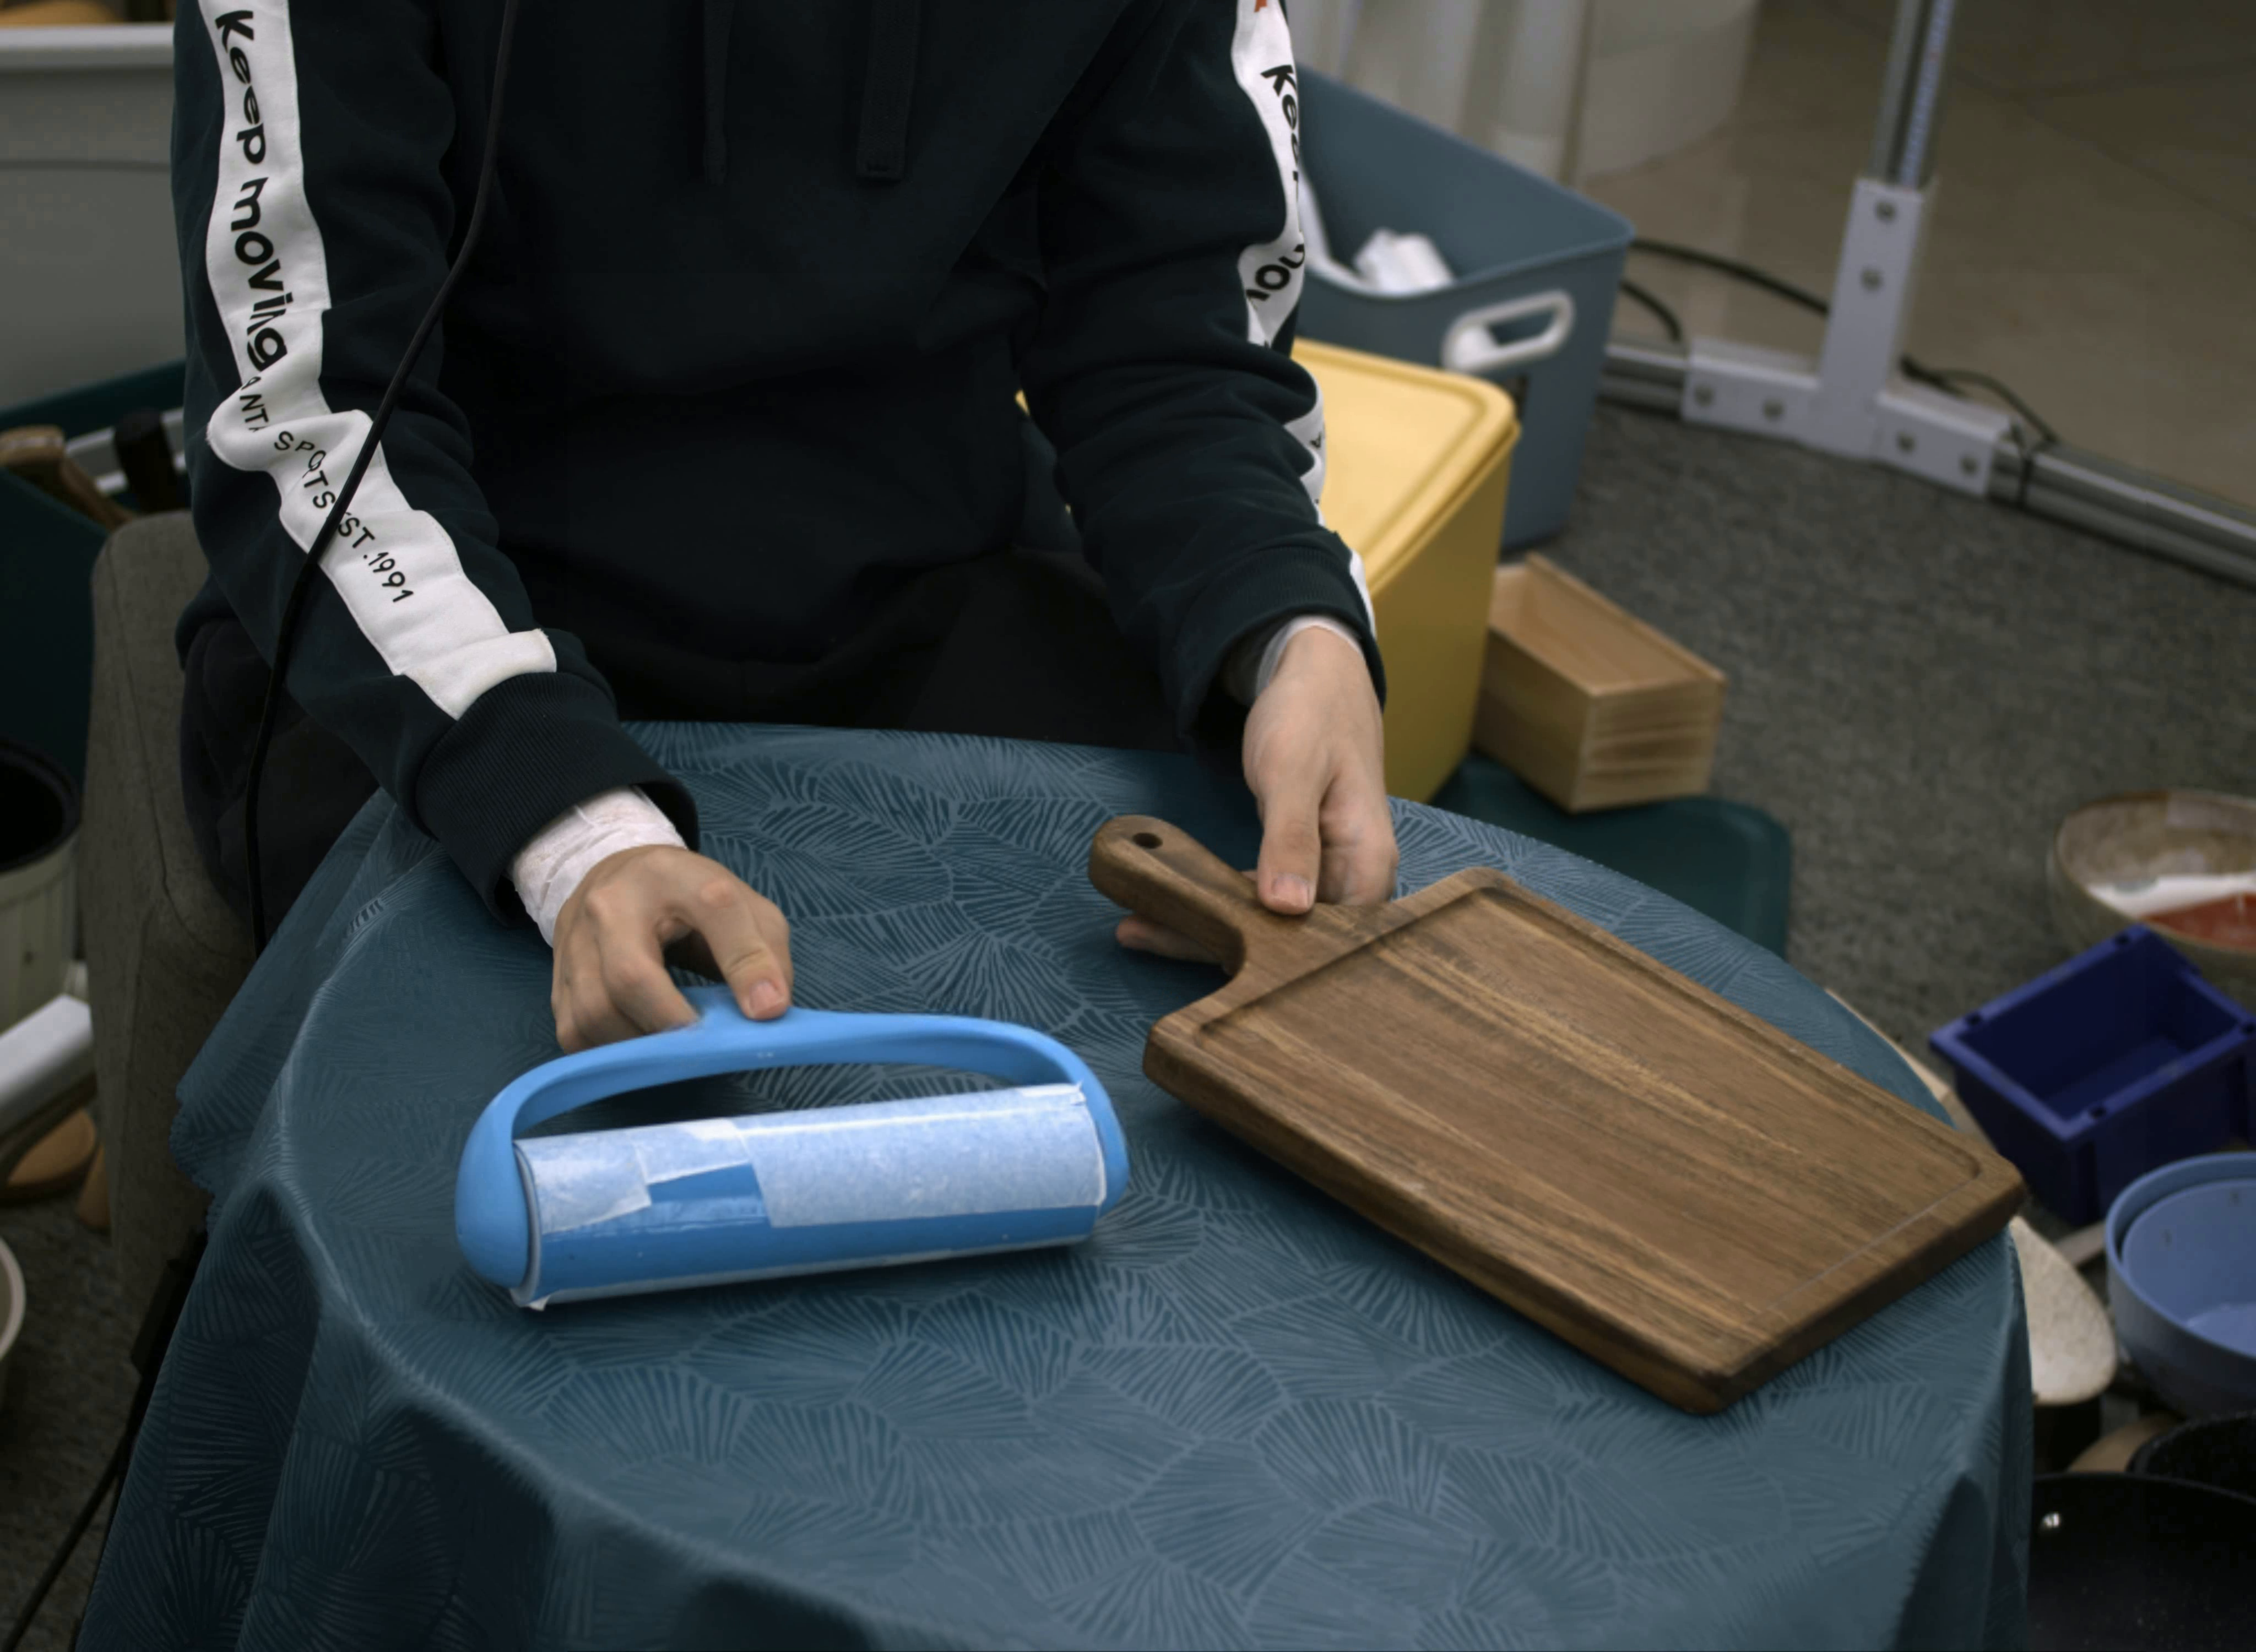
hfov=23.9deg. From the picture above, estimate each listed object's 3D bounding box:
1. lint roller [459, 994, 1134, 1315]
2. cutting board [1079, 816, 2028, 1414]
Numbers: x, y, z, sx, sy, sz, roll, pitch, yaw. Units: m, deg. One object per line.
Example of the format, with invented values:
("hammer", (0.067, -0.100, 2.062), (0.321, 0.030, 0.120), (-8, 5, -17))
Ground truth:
("lint roller", (-0.129, 0.091, 1.771), (0.227, 0.067, 0.182), (-8, 31, -23))
("cutting board", (0.121, 0.080, 1.858), (0.354, 0.023, 0.200), (30, 35, 31))
